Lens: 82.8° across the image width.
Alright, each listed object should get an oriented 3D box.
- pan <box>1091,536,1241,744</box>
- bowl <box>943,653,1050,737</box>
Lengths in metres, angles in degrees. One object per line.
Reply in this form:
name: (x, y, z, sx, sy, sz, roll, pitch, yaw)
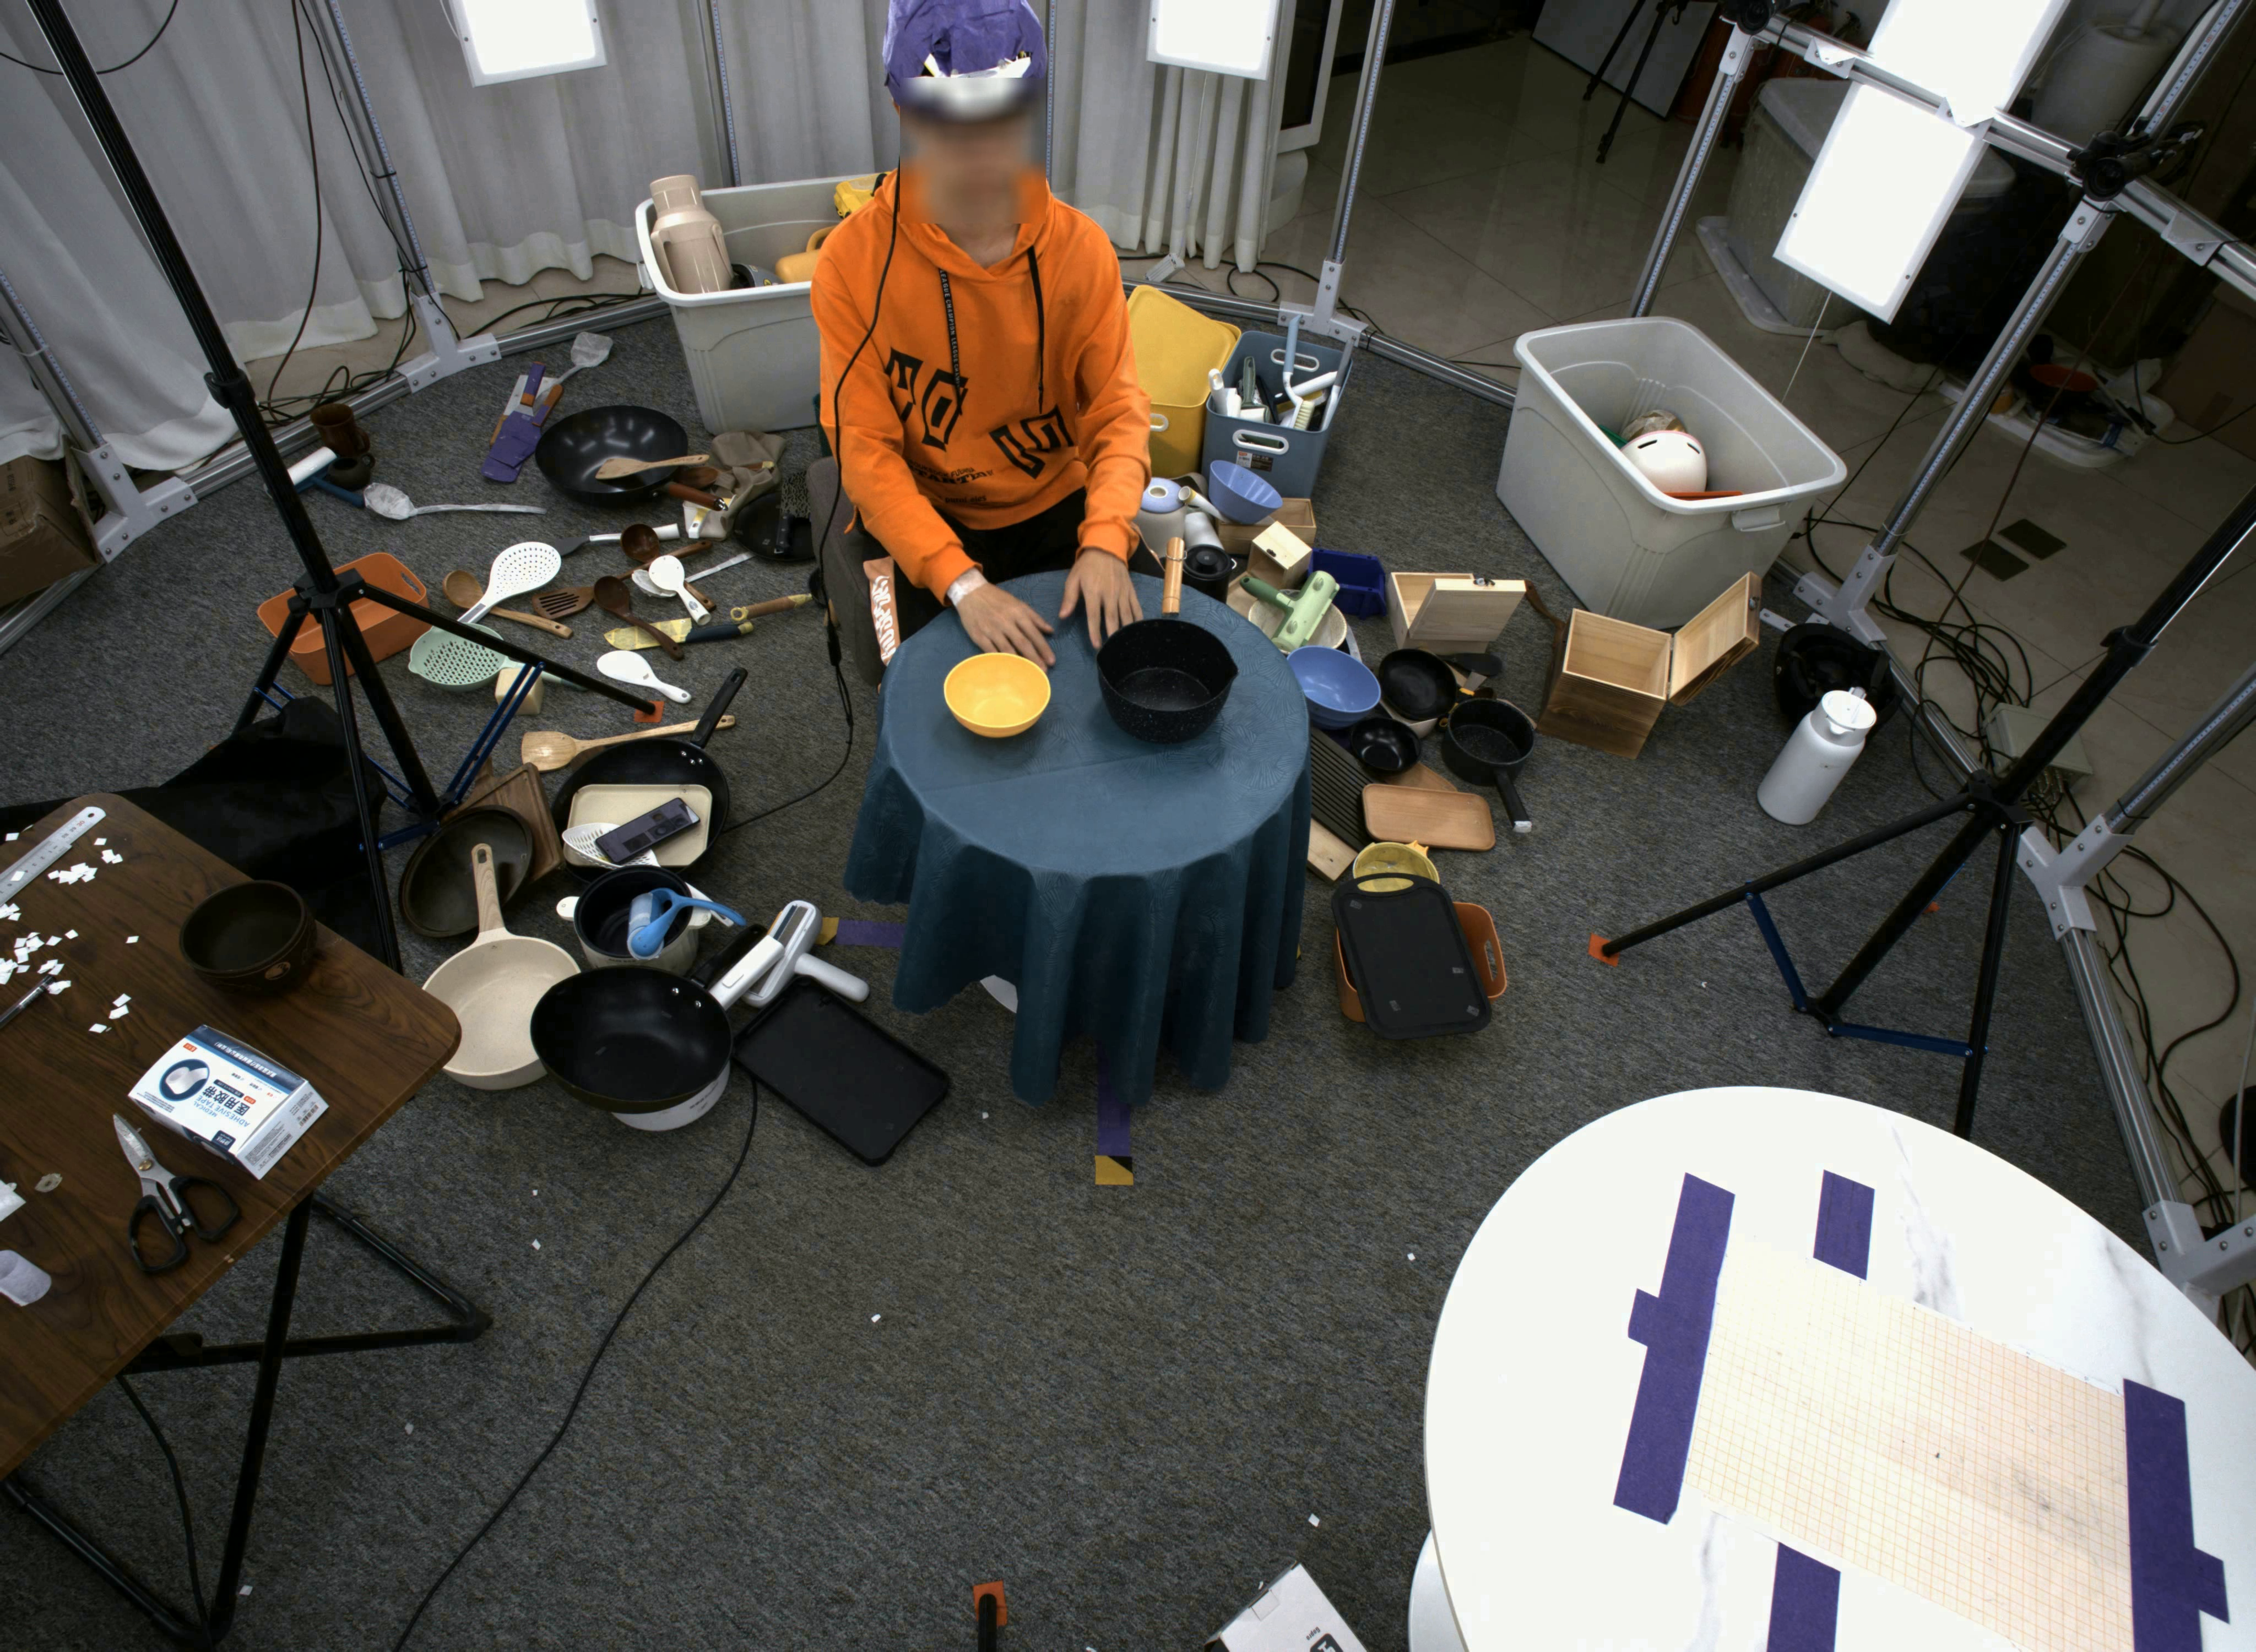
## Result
pan: (0.056, -0.266, 1.833, 0.207, 0.105, 0.351, 4, 50, 1)
bowl: (-0.180, -0.168, 1.765, 0.145, 0.058, 0.149, 3, 48, -3)
